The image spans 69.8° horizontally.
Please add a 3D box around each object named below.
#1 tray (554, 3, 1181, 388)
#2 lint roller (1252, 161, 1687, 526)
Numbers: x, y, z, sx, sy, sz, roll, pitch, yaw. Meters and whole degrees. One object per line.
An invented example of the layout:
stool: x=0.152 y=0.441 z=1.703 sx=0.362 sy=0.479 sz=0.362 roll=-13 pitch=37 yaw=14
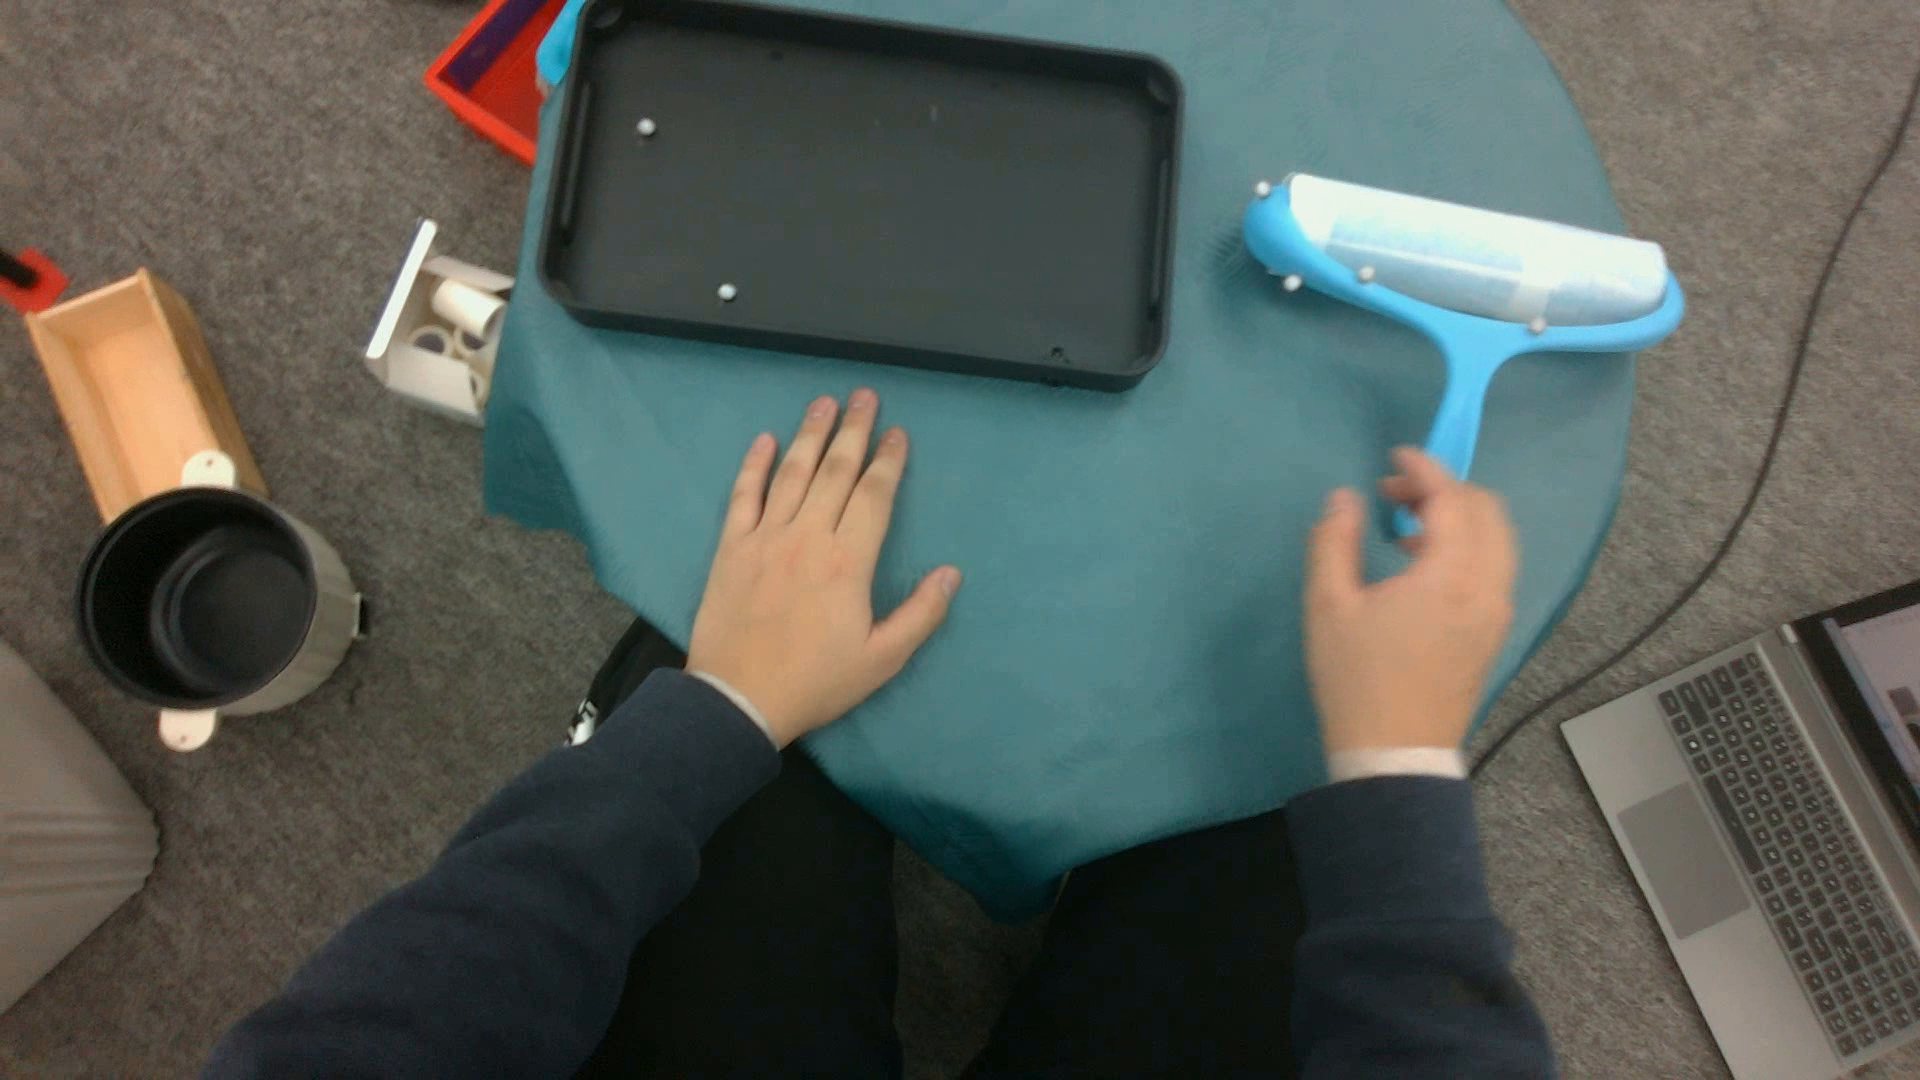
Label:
tray: x=-0.044 y=-0.182 z=0.735 sx=0.318 sy=0.037 sz=0.184 roll=5 pitch=78 yaw=-4
lint roller: x=0.261 y=-0.100 z=0.714 sx=0.229 sy=0.068 sz=0.180 roll=8 pitch=76 yaw=-2
